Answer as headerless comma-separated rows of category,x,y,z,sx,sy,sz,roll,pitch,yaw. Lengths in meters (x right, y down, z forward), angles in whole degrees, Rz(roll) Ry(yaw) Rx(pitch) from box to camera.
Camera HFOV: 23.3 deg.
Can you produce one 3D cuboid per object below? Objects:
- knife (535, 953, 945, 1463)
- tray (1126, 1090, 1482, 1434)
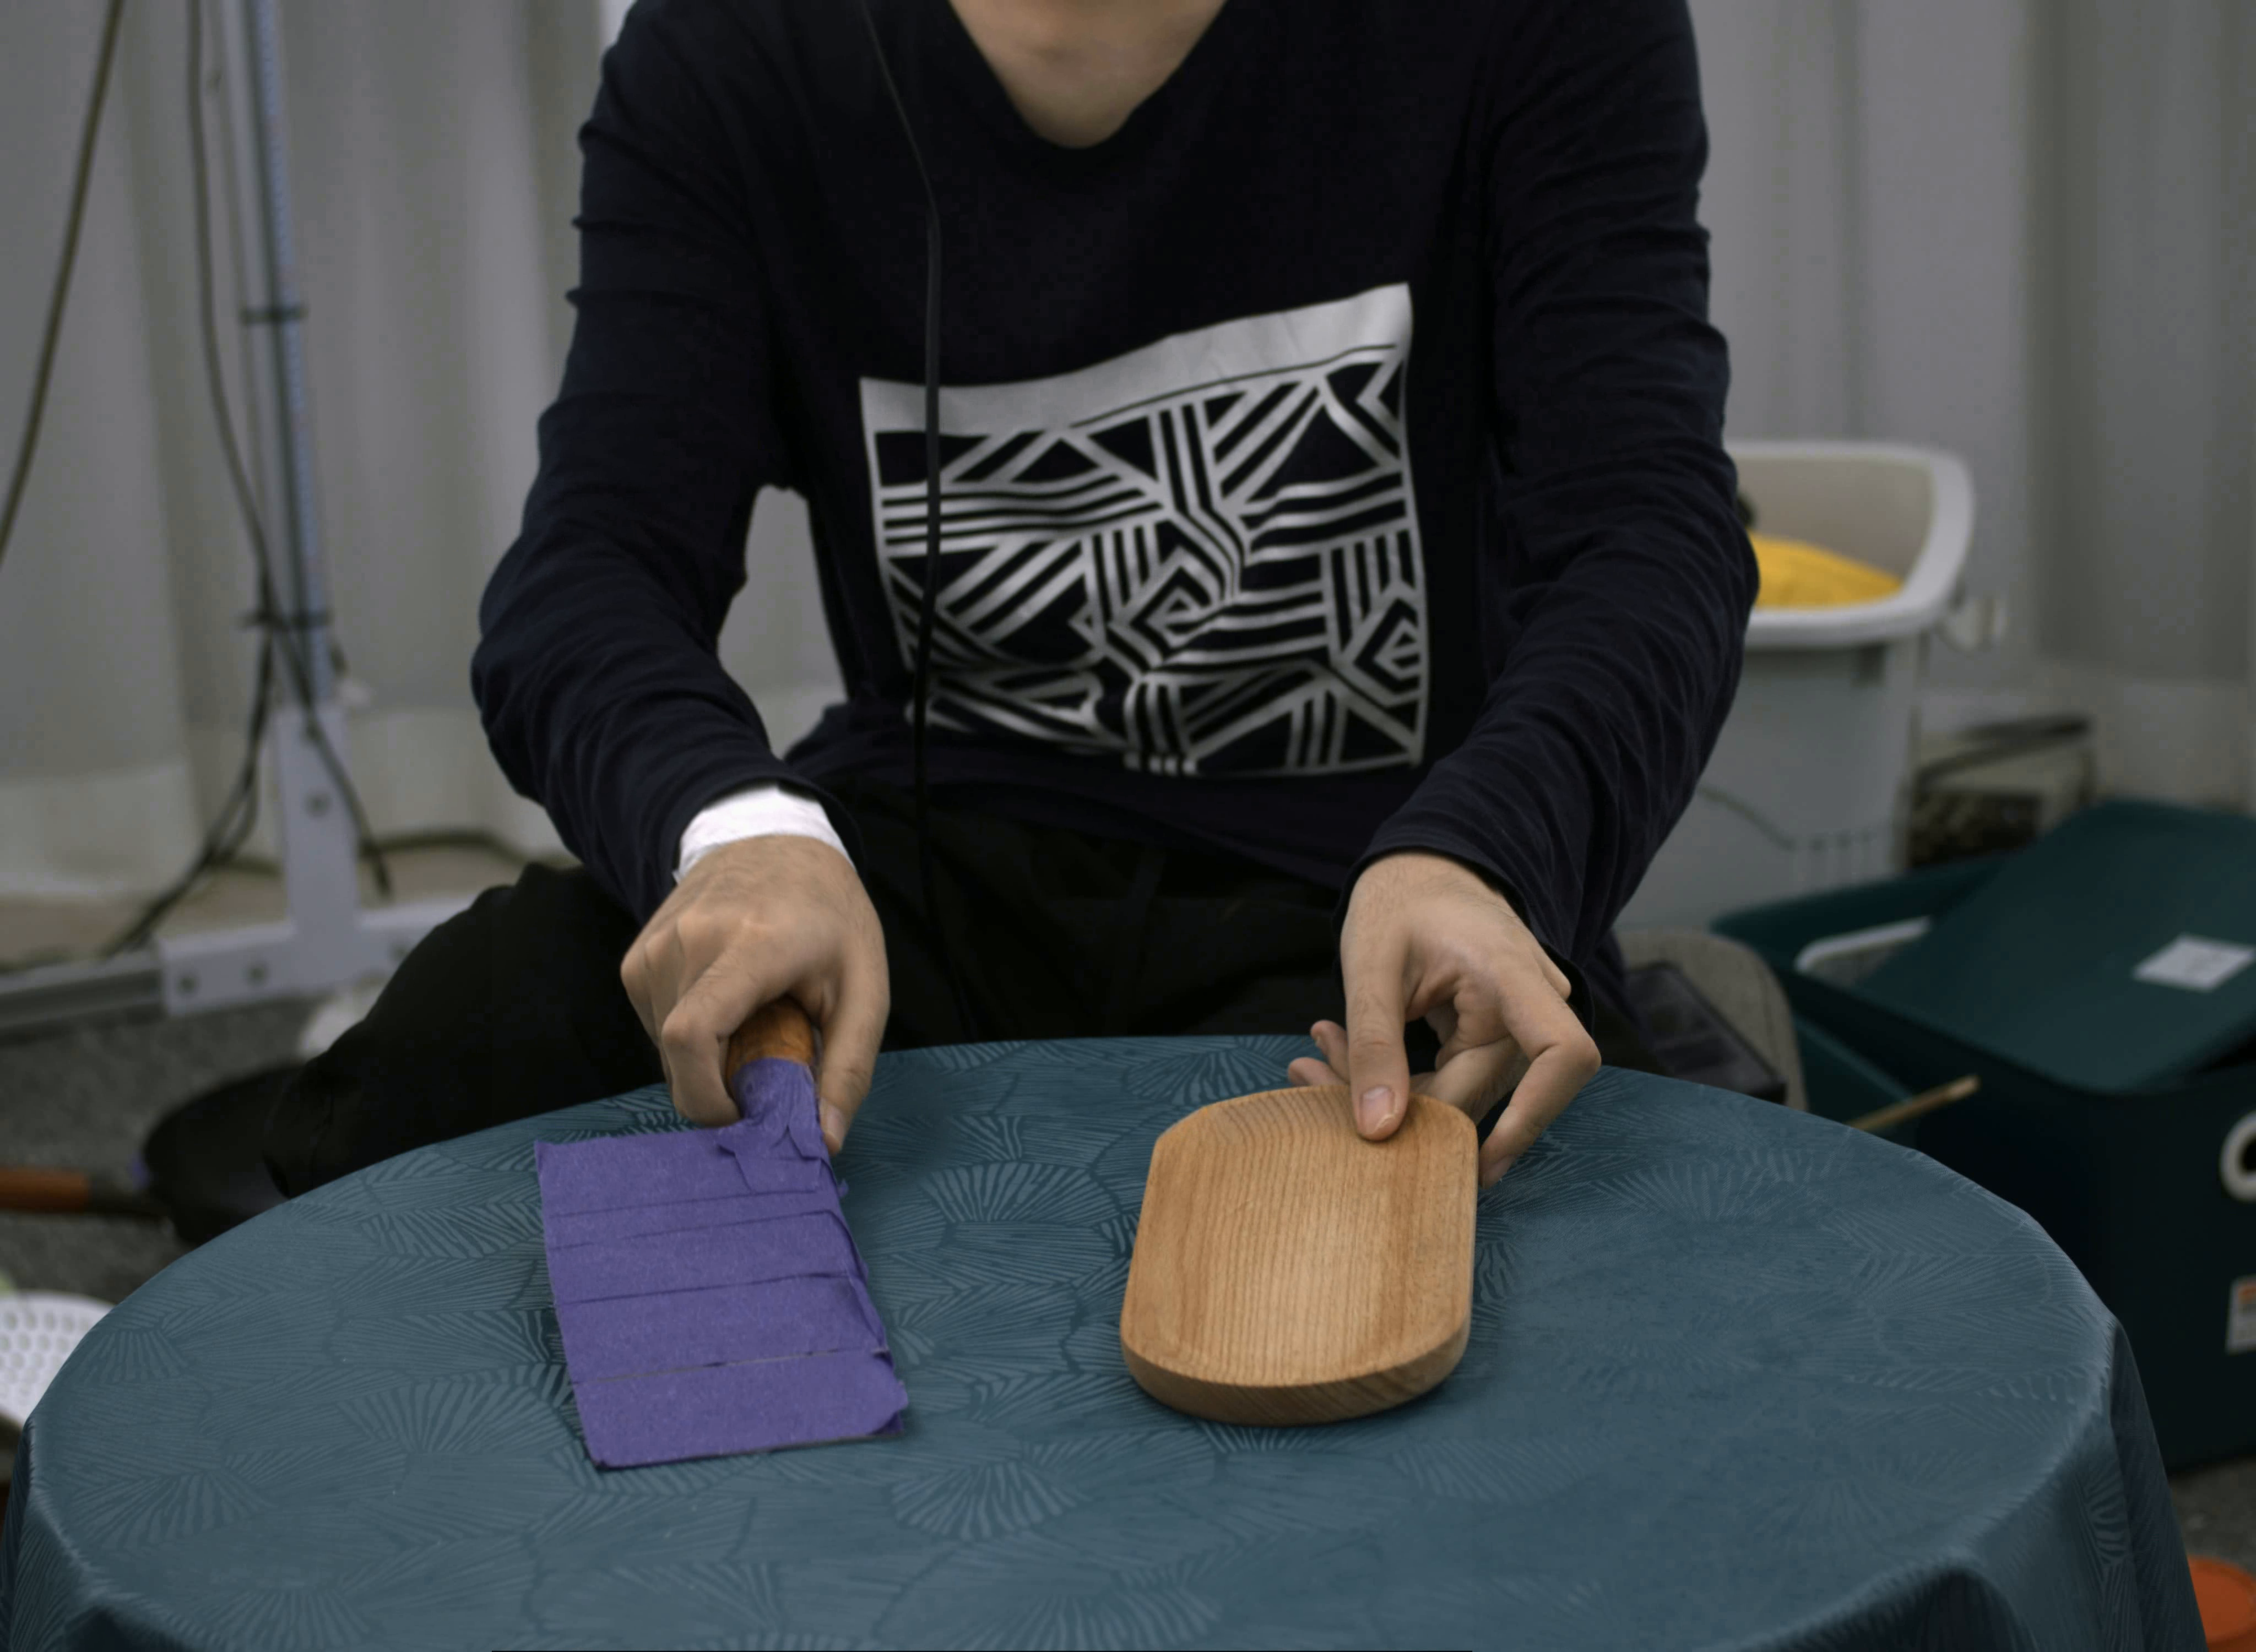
knife,-0.130,0.110,1.651,0.103,0.032,0.318,-4,20,-10
tray,0.053,0.126,1.612,0.101,0.020,0.233,-4,19,4
